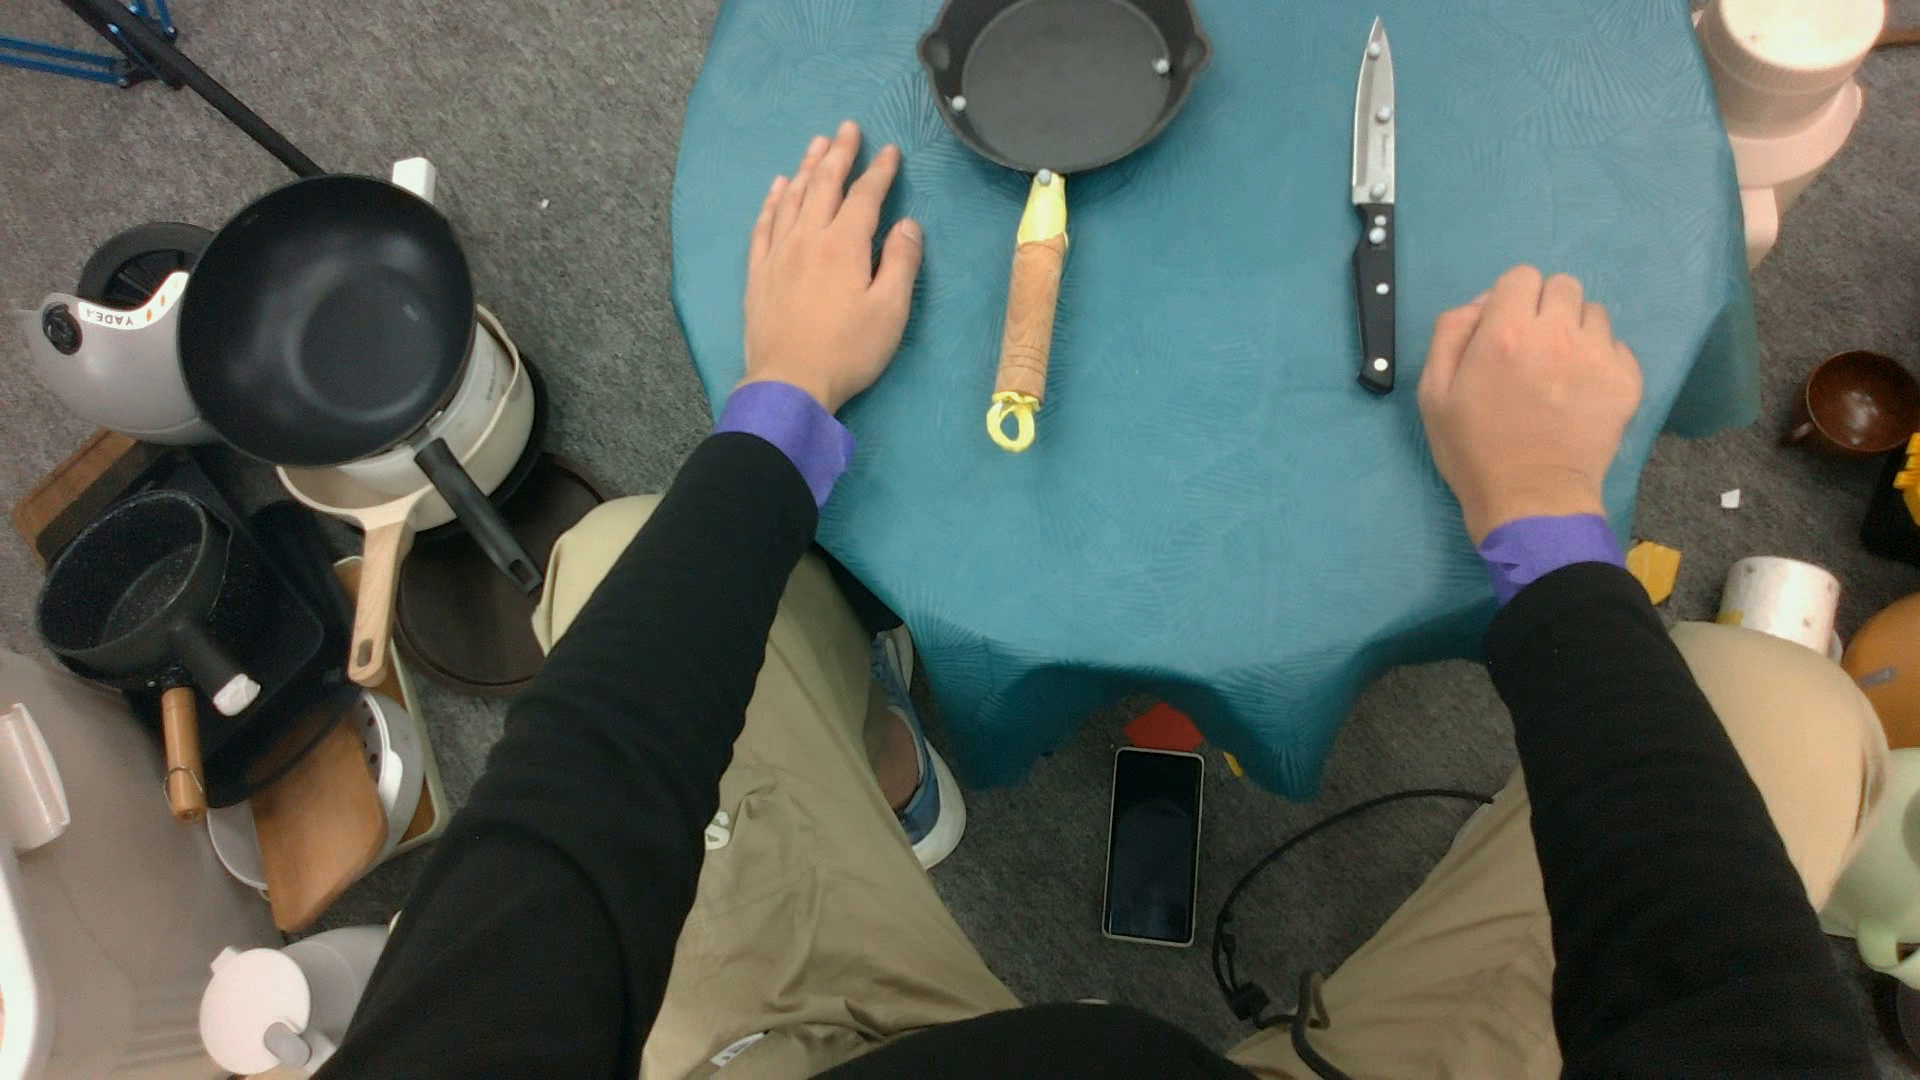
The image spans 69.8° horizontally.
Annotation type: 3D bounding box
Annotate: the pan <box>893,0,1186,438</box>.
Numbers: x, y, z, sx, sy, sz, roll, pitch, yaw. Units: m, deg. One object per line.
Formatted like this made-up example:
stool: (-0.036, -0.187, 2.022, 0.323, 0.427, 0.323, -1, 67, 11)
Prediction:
pan: (0.034, -0.208, 0.775, 0.169, 0.049, 0.325, 6, 76, 9)

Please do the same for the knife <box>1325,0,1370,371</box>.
knife: (0.217, -0.204, 0.768, 0.024, 0.016, 0.239, 2, 72, 8)
